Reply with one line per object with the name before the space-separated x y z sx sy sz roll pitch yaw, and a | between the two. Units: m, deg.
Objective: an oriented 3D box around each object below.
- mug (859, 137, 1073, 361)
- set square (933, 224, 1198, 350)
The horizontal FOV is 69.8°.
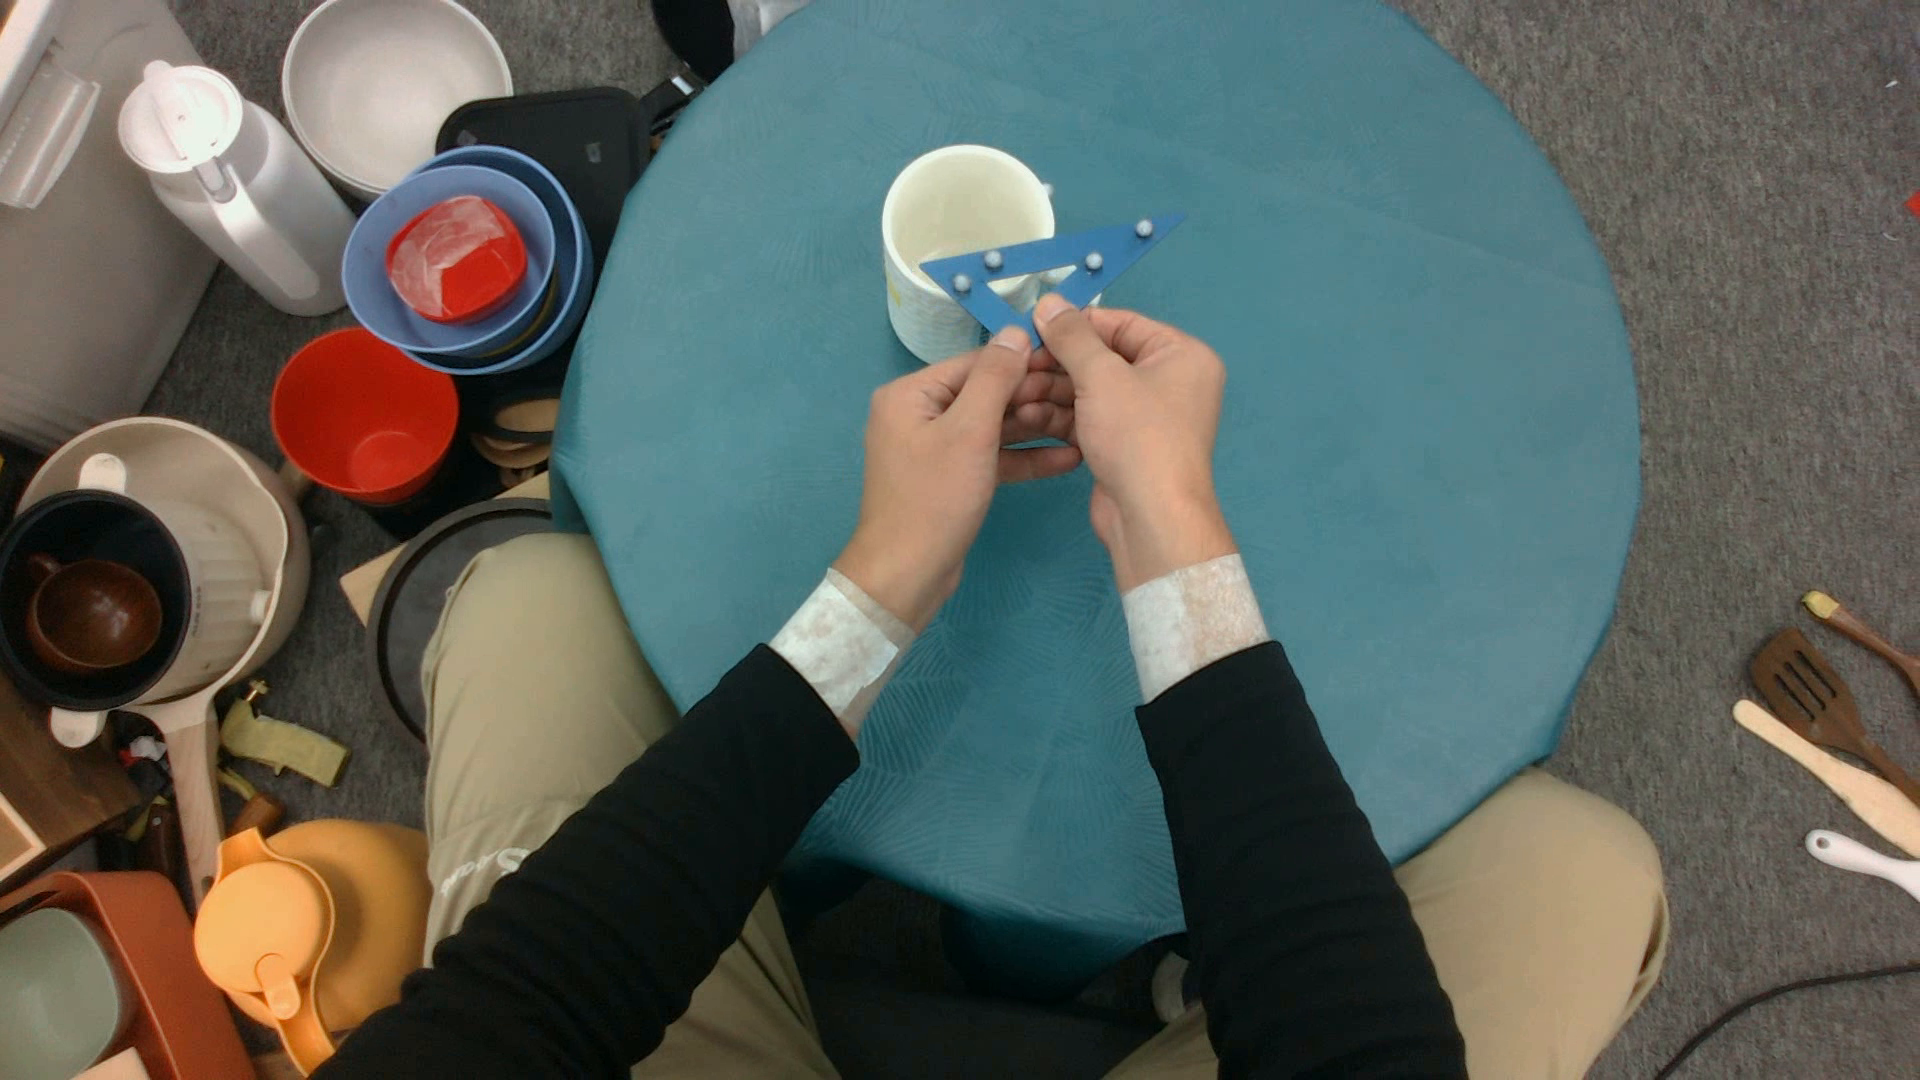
mug | 0.005 -0.146 0.736 0.118 0.101 0.085 20 75 2
set square | 0.057 -0.123 0.663 0.132 0.006 0.061 -9 68 -9
